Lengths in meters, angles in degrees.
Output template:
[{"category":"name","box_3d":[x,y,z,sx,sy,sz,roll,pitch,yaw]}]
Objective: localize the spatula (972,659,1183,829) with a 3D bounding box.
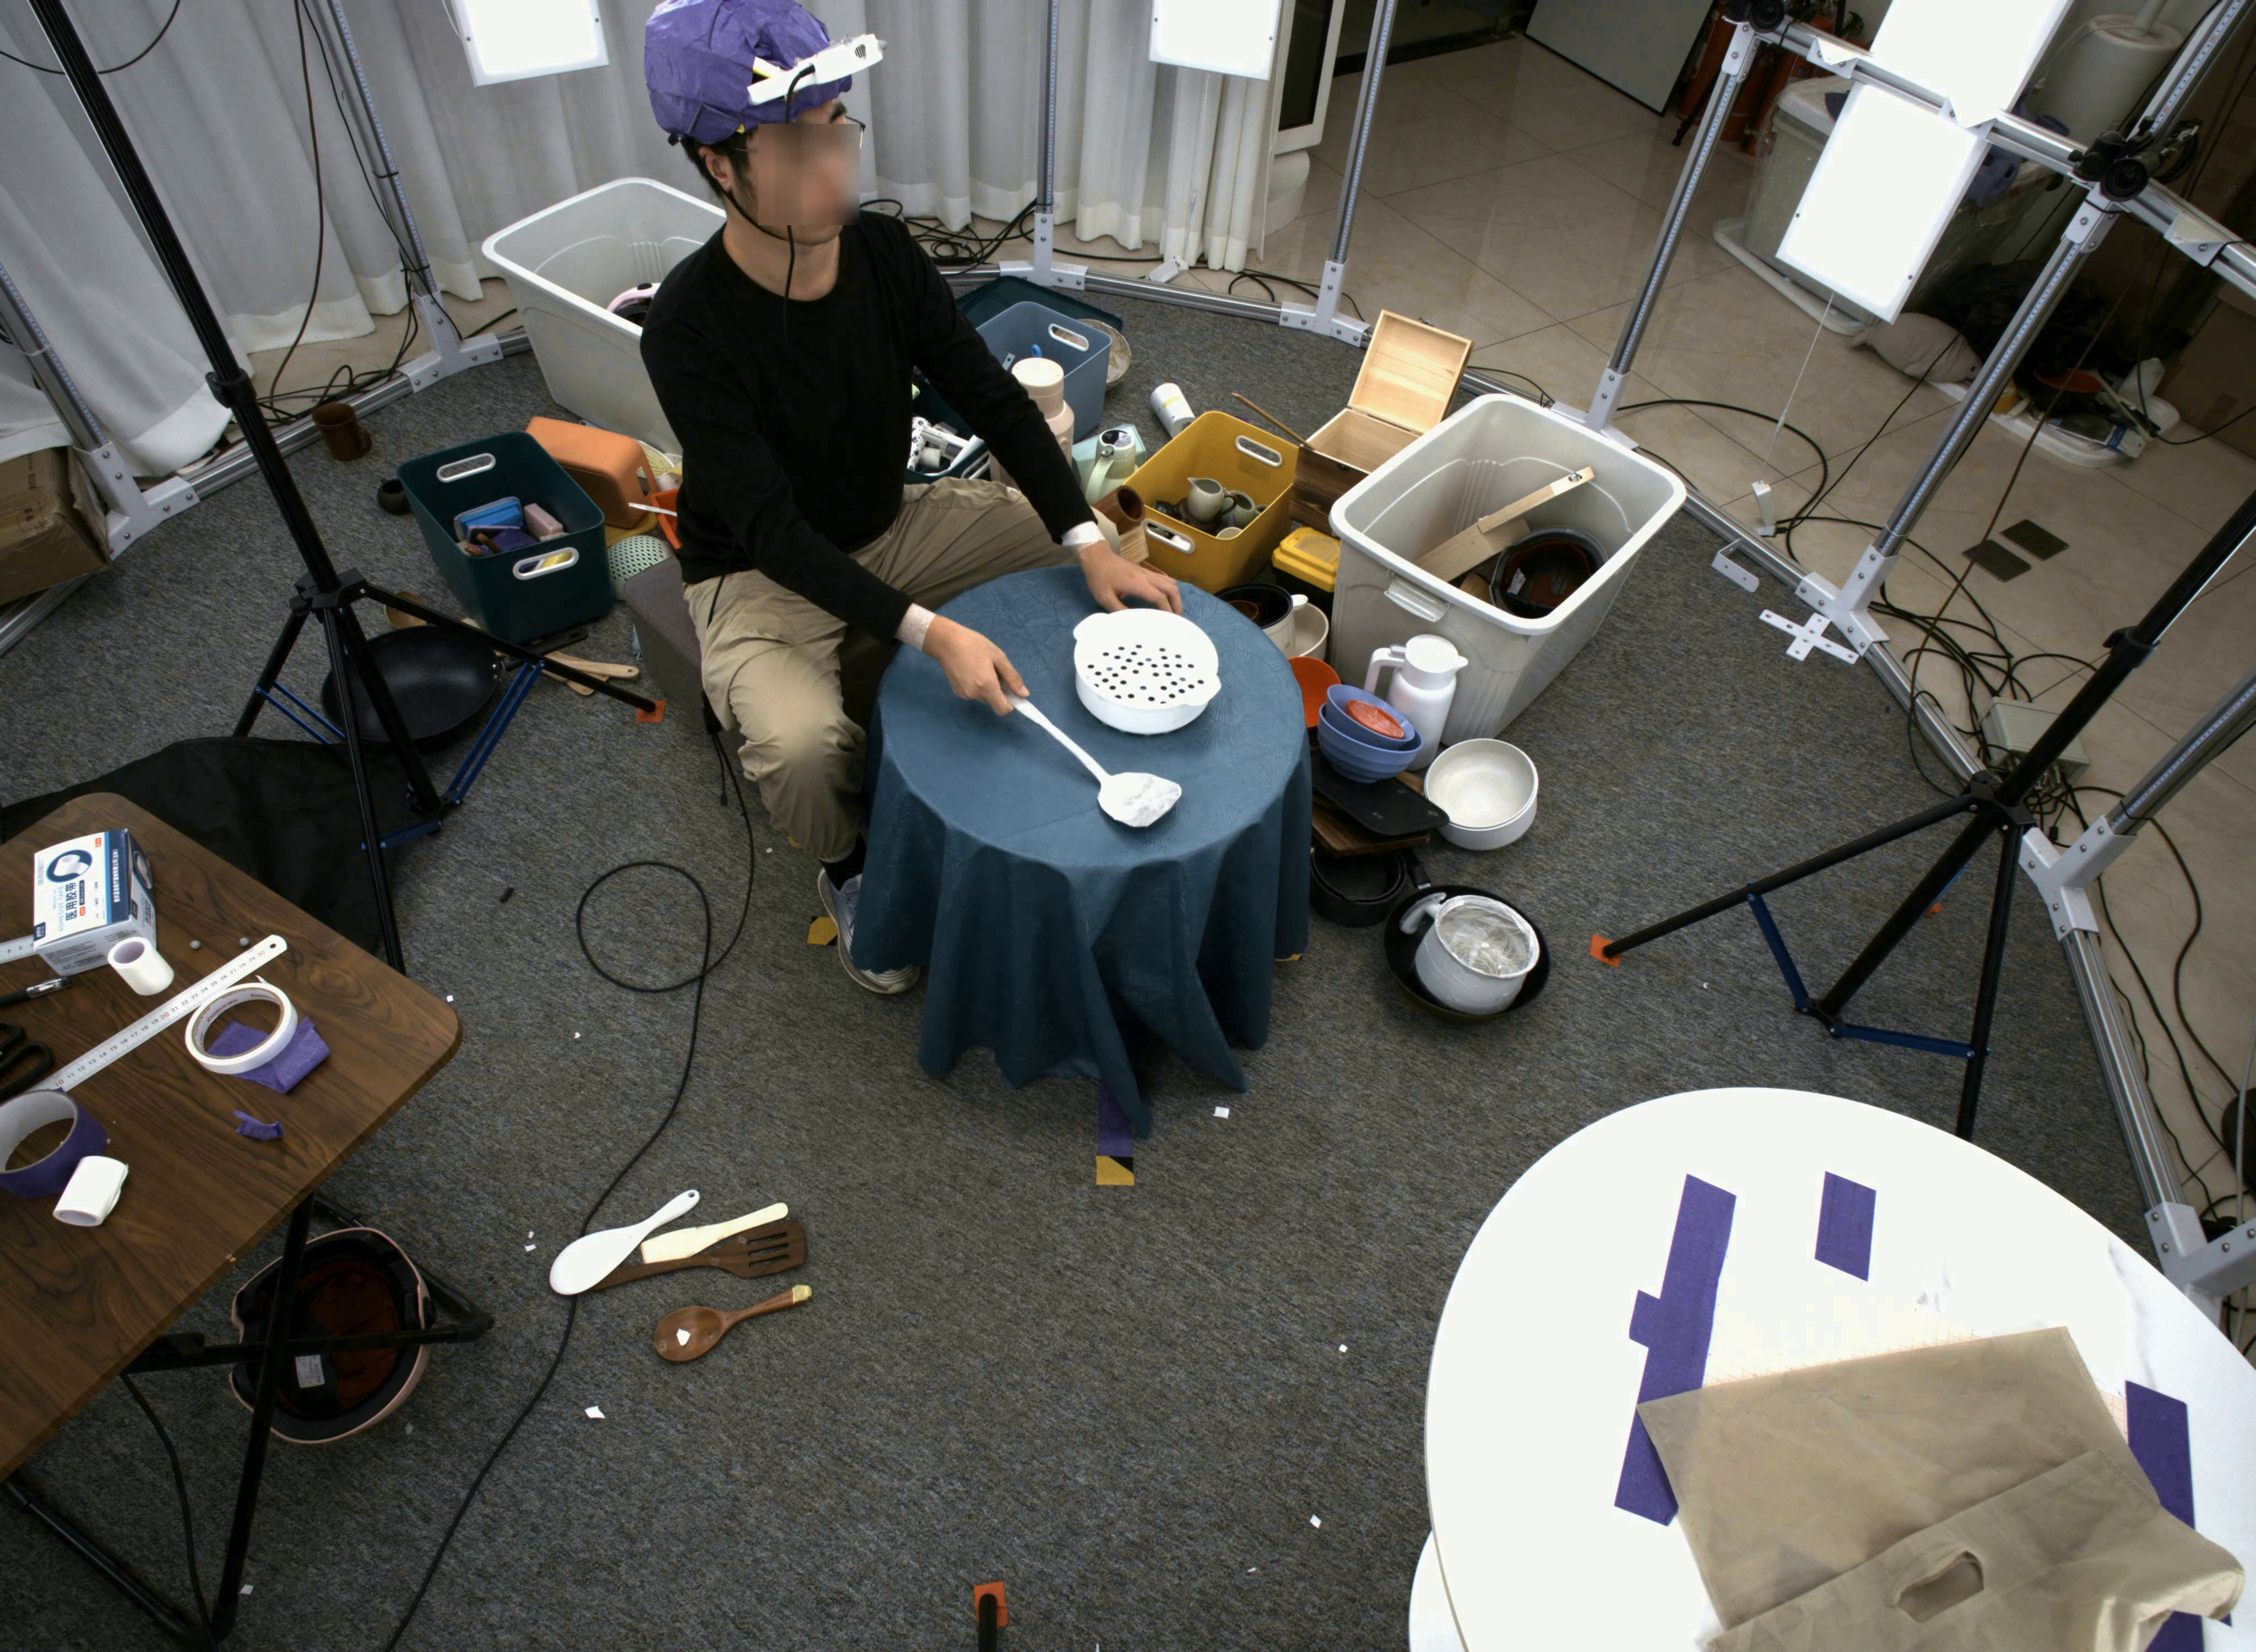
[{"category":"spatula","box_3d":[-0.086,-0.122,1.723,0.368,0.044,0.100,41,61,16]}]

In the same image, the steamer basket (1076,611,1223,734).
[{"category":"steamer basket","box_3d":[0.028,-0.215,1.813,0.233,0.067,0.204,32,54,23]}]
